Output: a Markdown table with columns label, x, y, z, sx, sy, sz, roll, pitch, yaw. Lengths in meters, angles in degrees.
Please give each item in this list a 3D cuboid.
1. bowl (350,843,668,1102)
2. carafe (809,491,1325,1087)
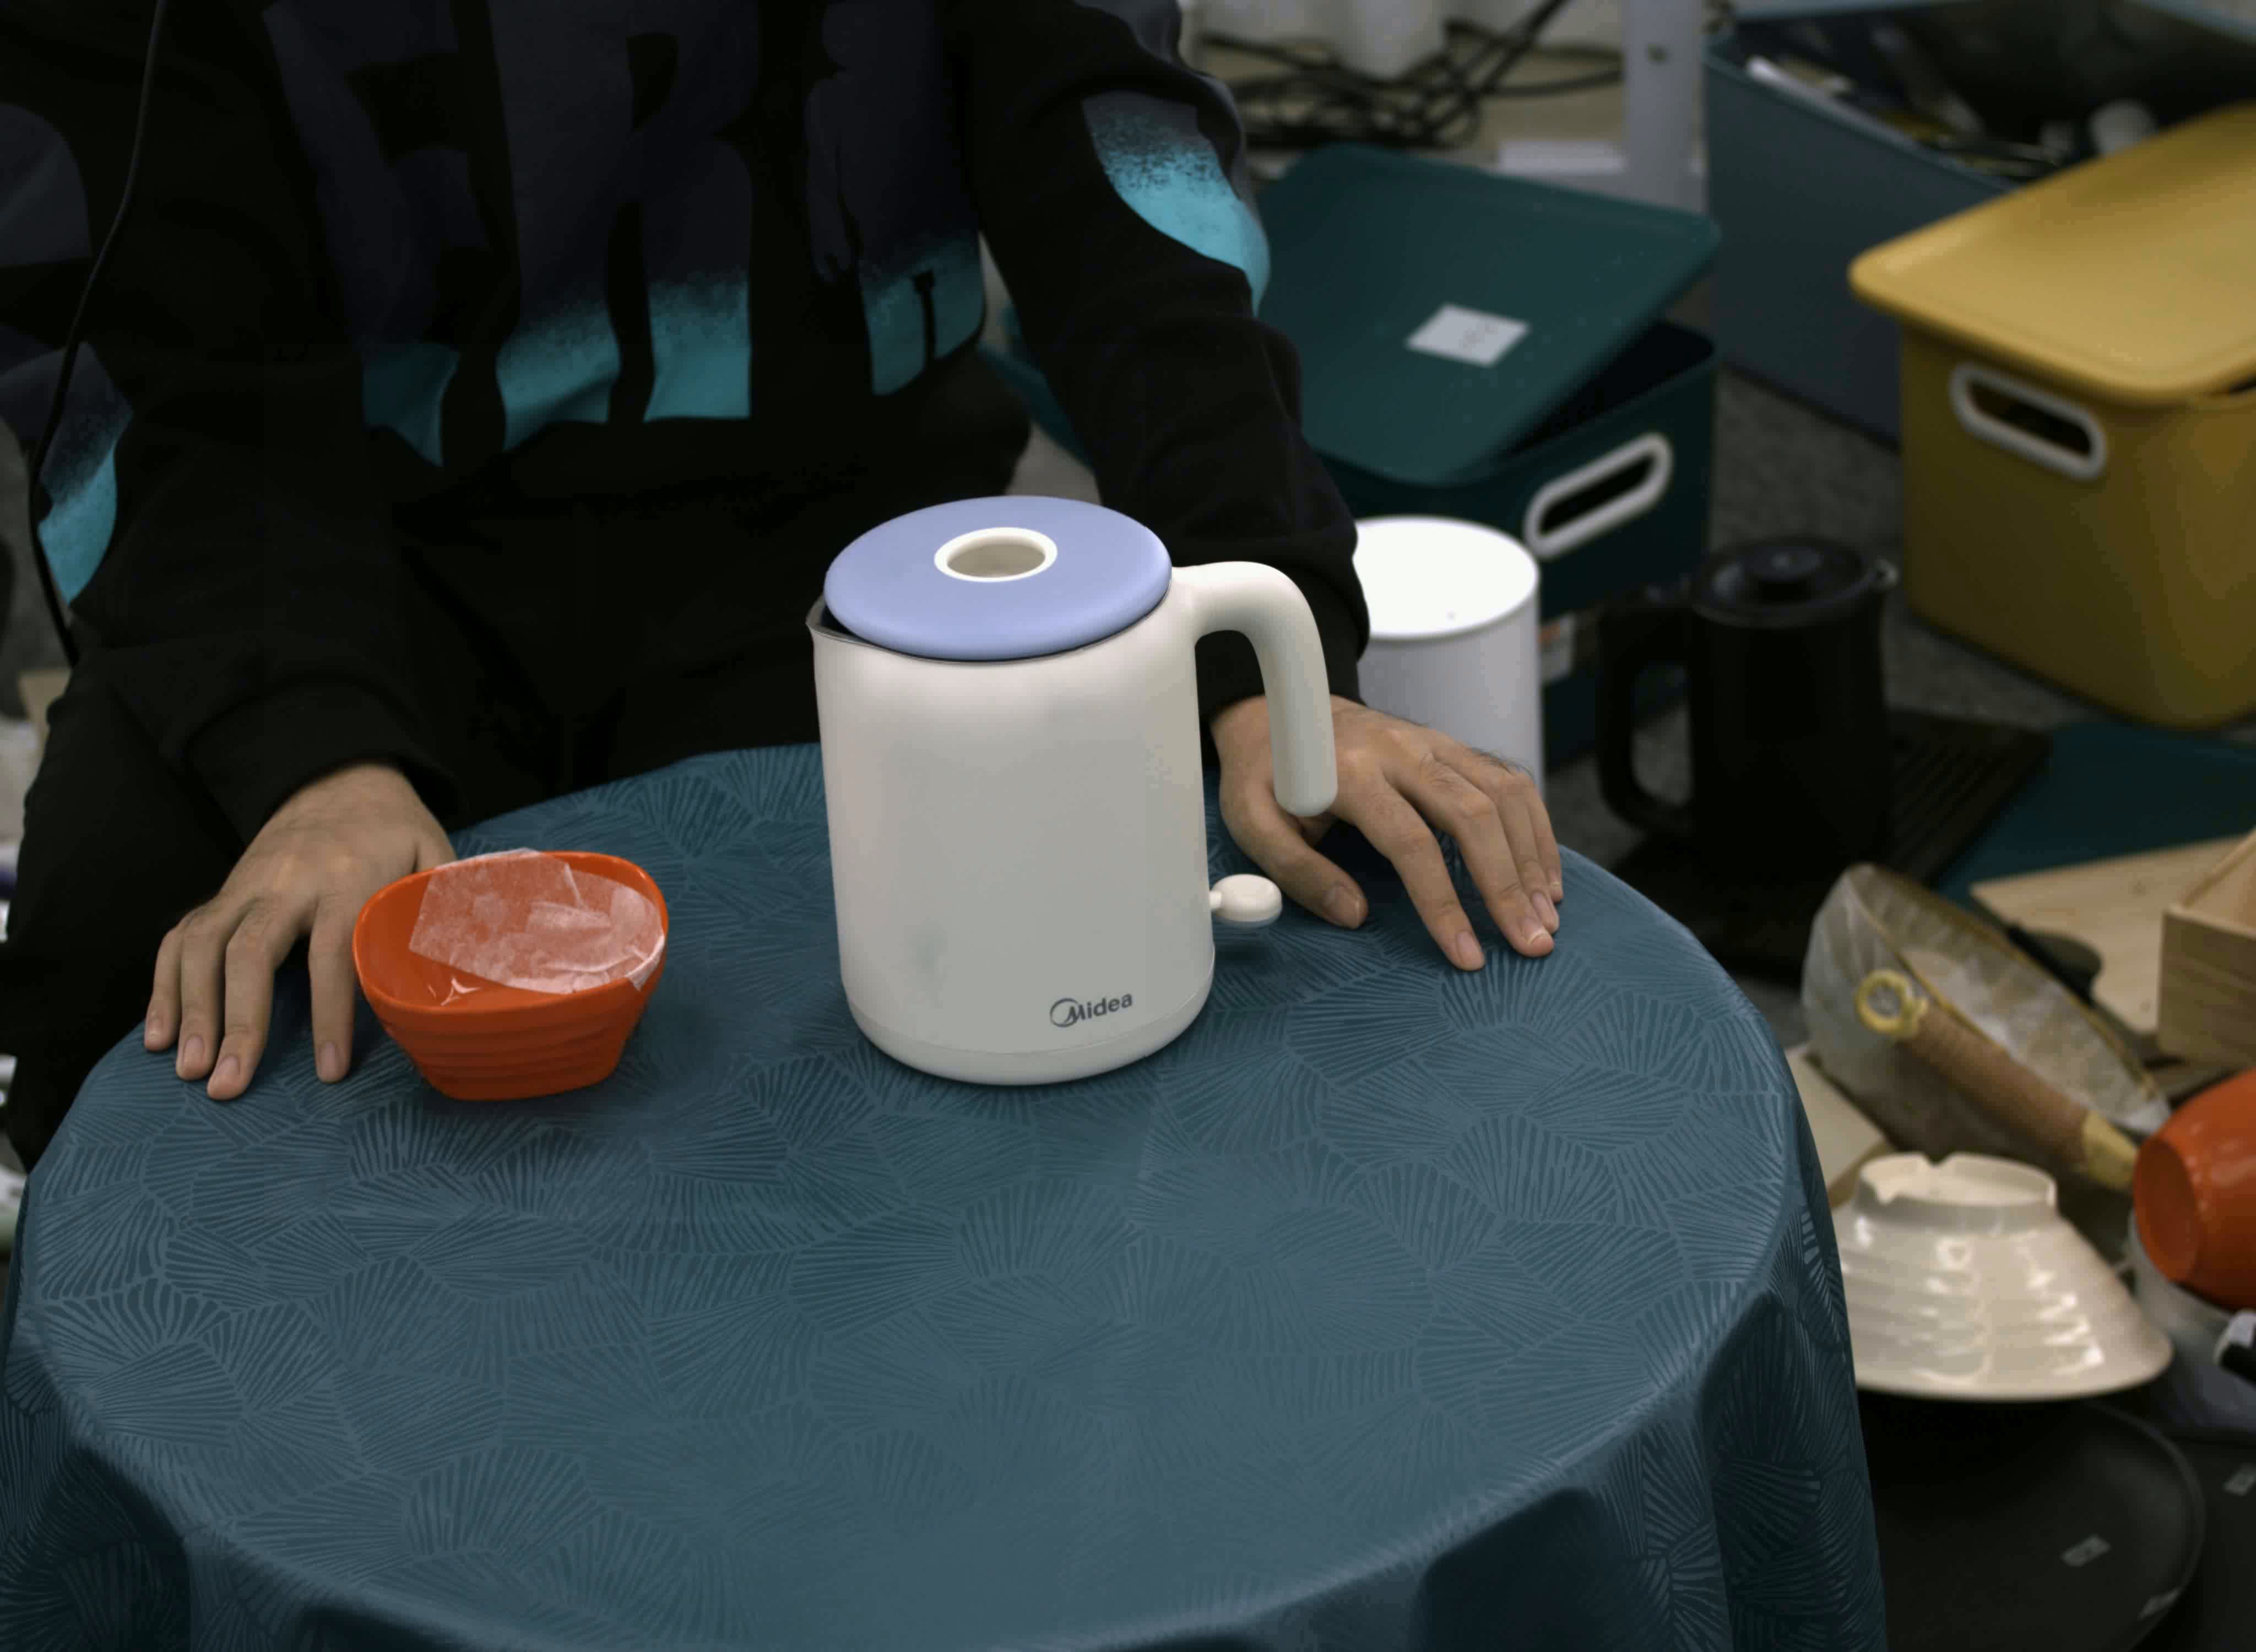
| label | x | y | z | sx | sy | sz | roll | pitch | yaw |
| --- | --- | --- | --- | --- | --- | --- | --- | --- | --- |
| bowl | -0.212 | 0.056 | 1.950 | 0.118 | 0.051 | 0.121 | -3 | 30 | 2 |
| carafe | -0.018 | -0.018 | 1.949 | 0.192 | 0.180 | 0.133 | -12 | 29 | -21 |
